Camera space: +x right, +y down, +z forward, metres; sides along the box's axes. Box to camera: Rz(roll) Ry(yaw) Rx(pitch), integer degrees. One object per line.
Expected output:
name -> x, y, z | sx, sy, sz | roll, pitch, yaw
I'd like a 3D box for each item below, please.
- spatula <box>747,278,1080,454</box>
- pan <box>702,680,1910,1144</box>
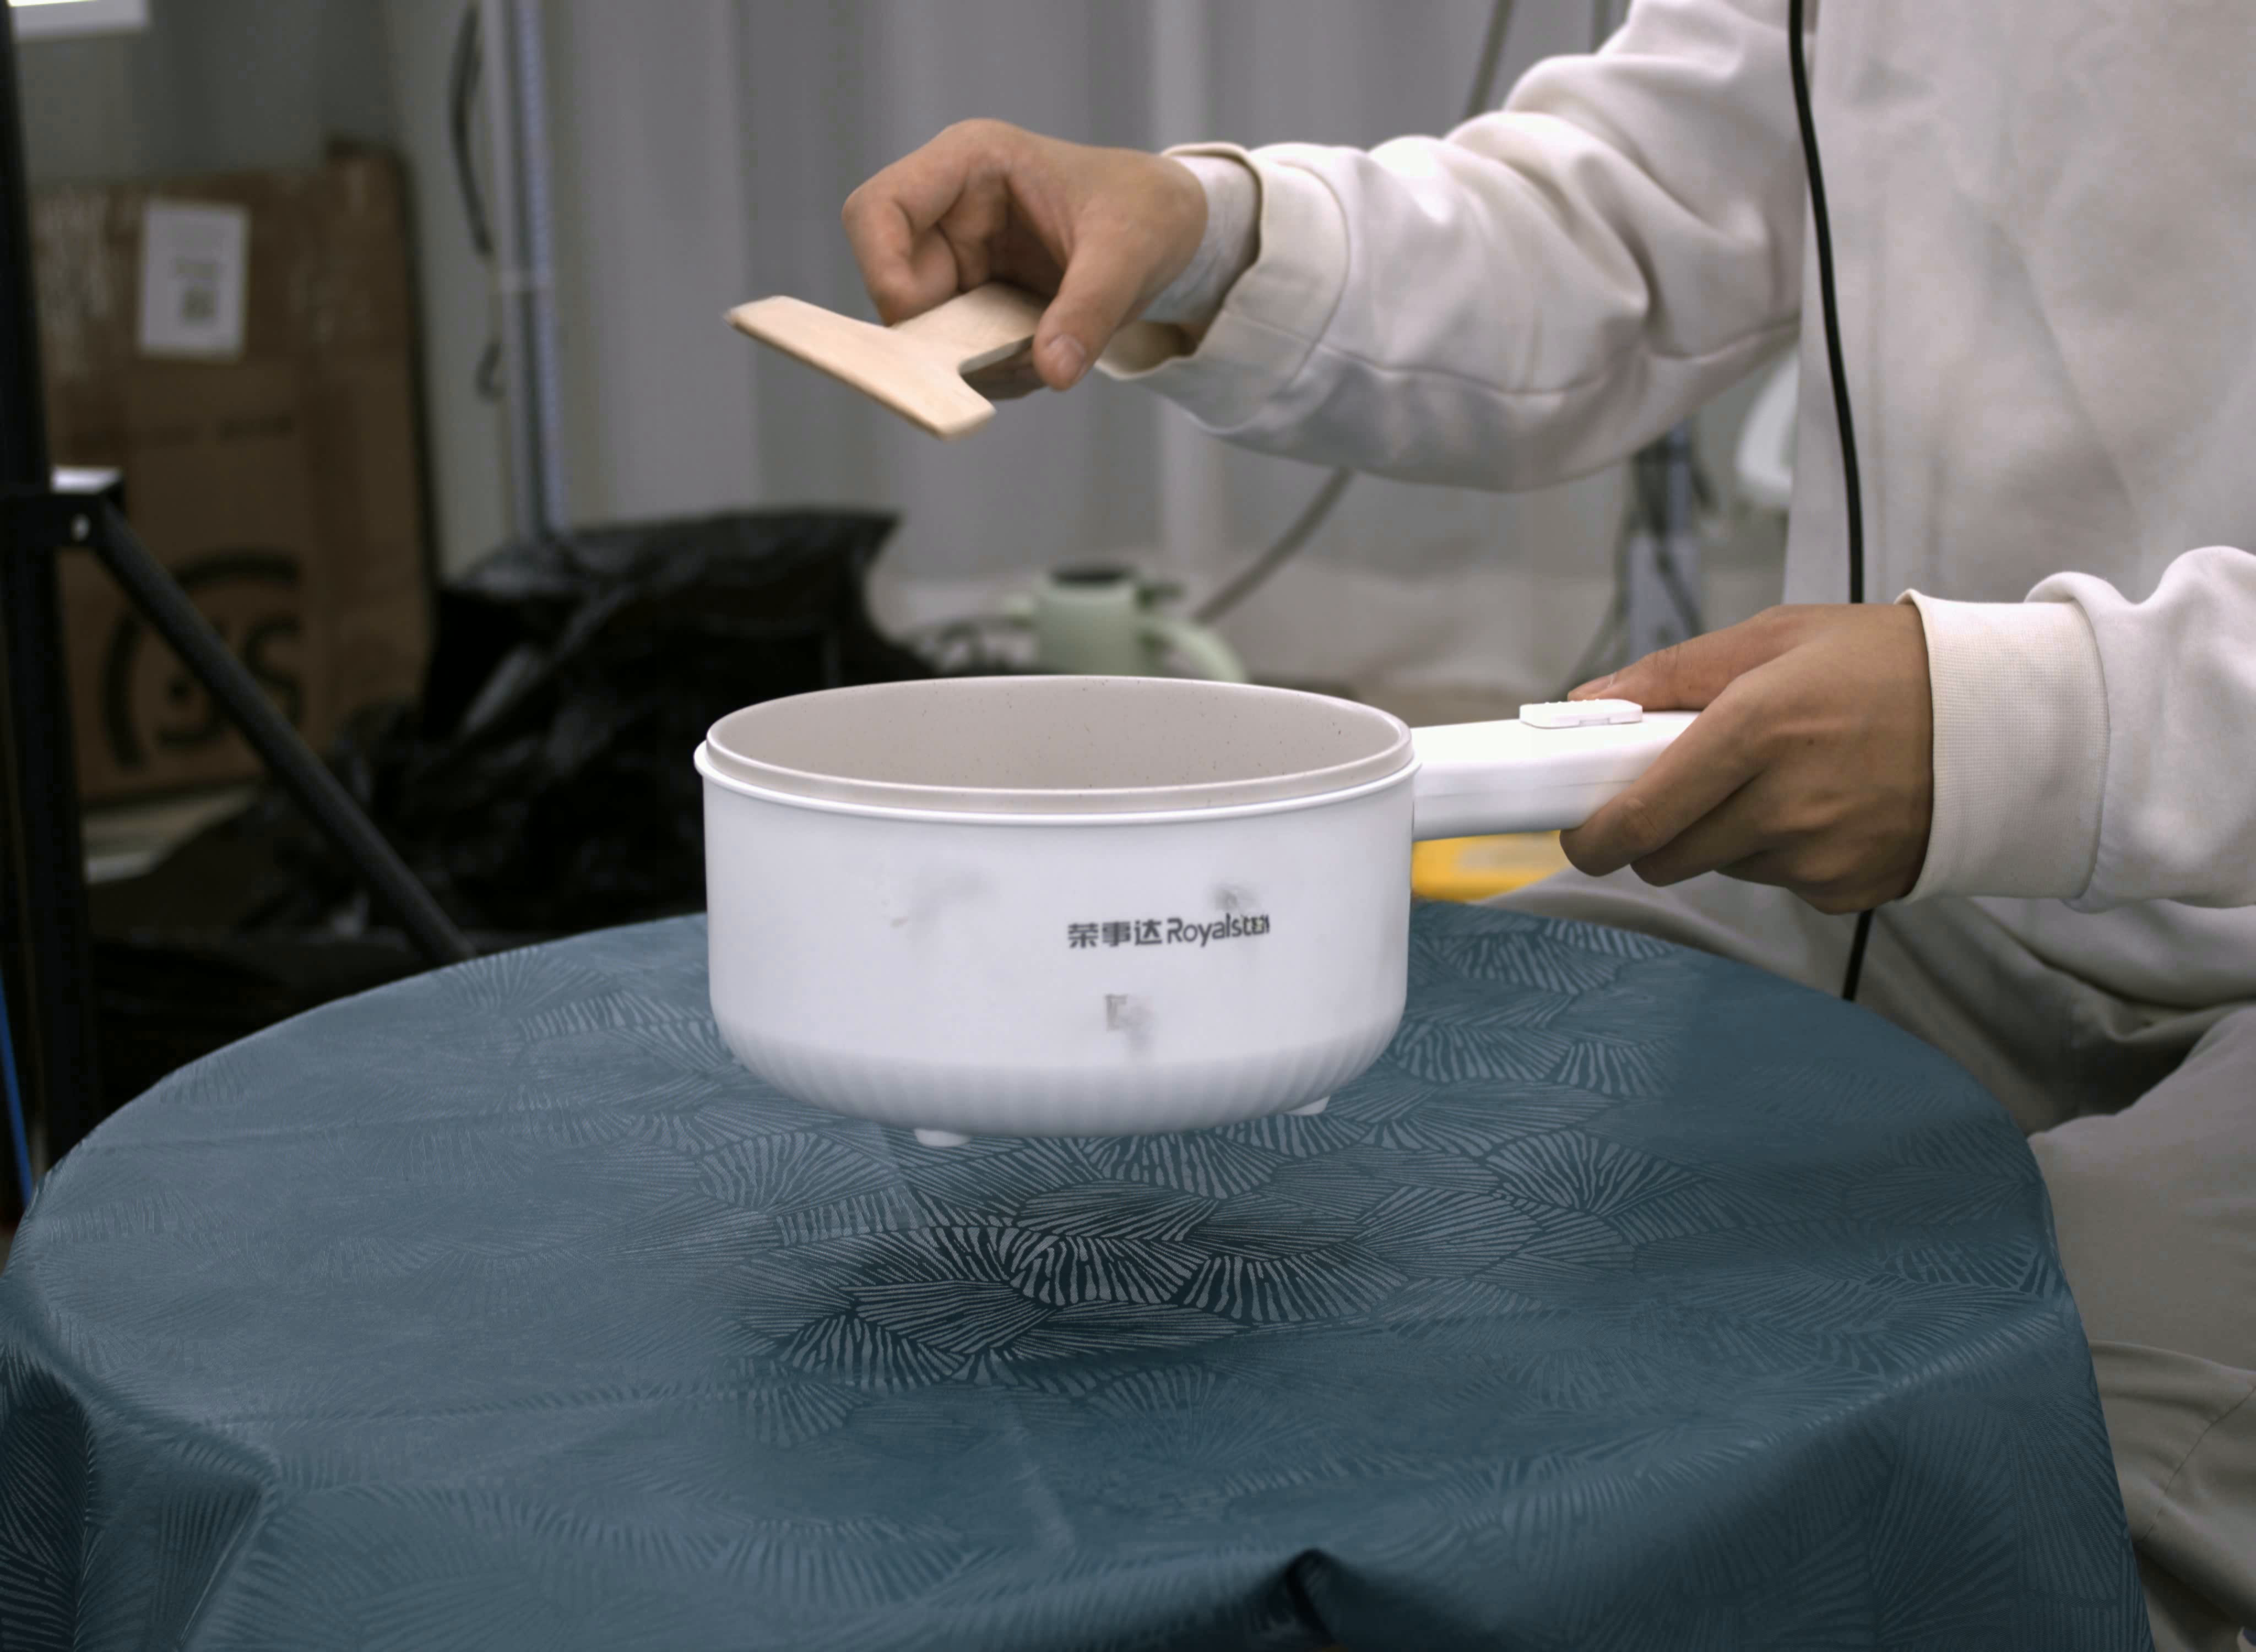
spatula -> -0.053, -0.145, 1.608 | 0.072, 0.011, 0.291 | 27, 14, 4
pan -> 0.054, 0.019, 1.497 | 0.348, 0.102, 0.204 | -3, 10, -19
